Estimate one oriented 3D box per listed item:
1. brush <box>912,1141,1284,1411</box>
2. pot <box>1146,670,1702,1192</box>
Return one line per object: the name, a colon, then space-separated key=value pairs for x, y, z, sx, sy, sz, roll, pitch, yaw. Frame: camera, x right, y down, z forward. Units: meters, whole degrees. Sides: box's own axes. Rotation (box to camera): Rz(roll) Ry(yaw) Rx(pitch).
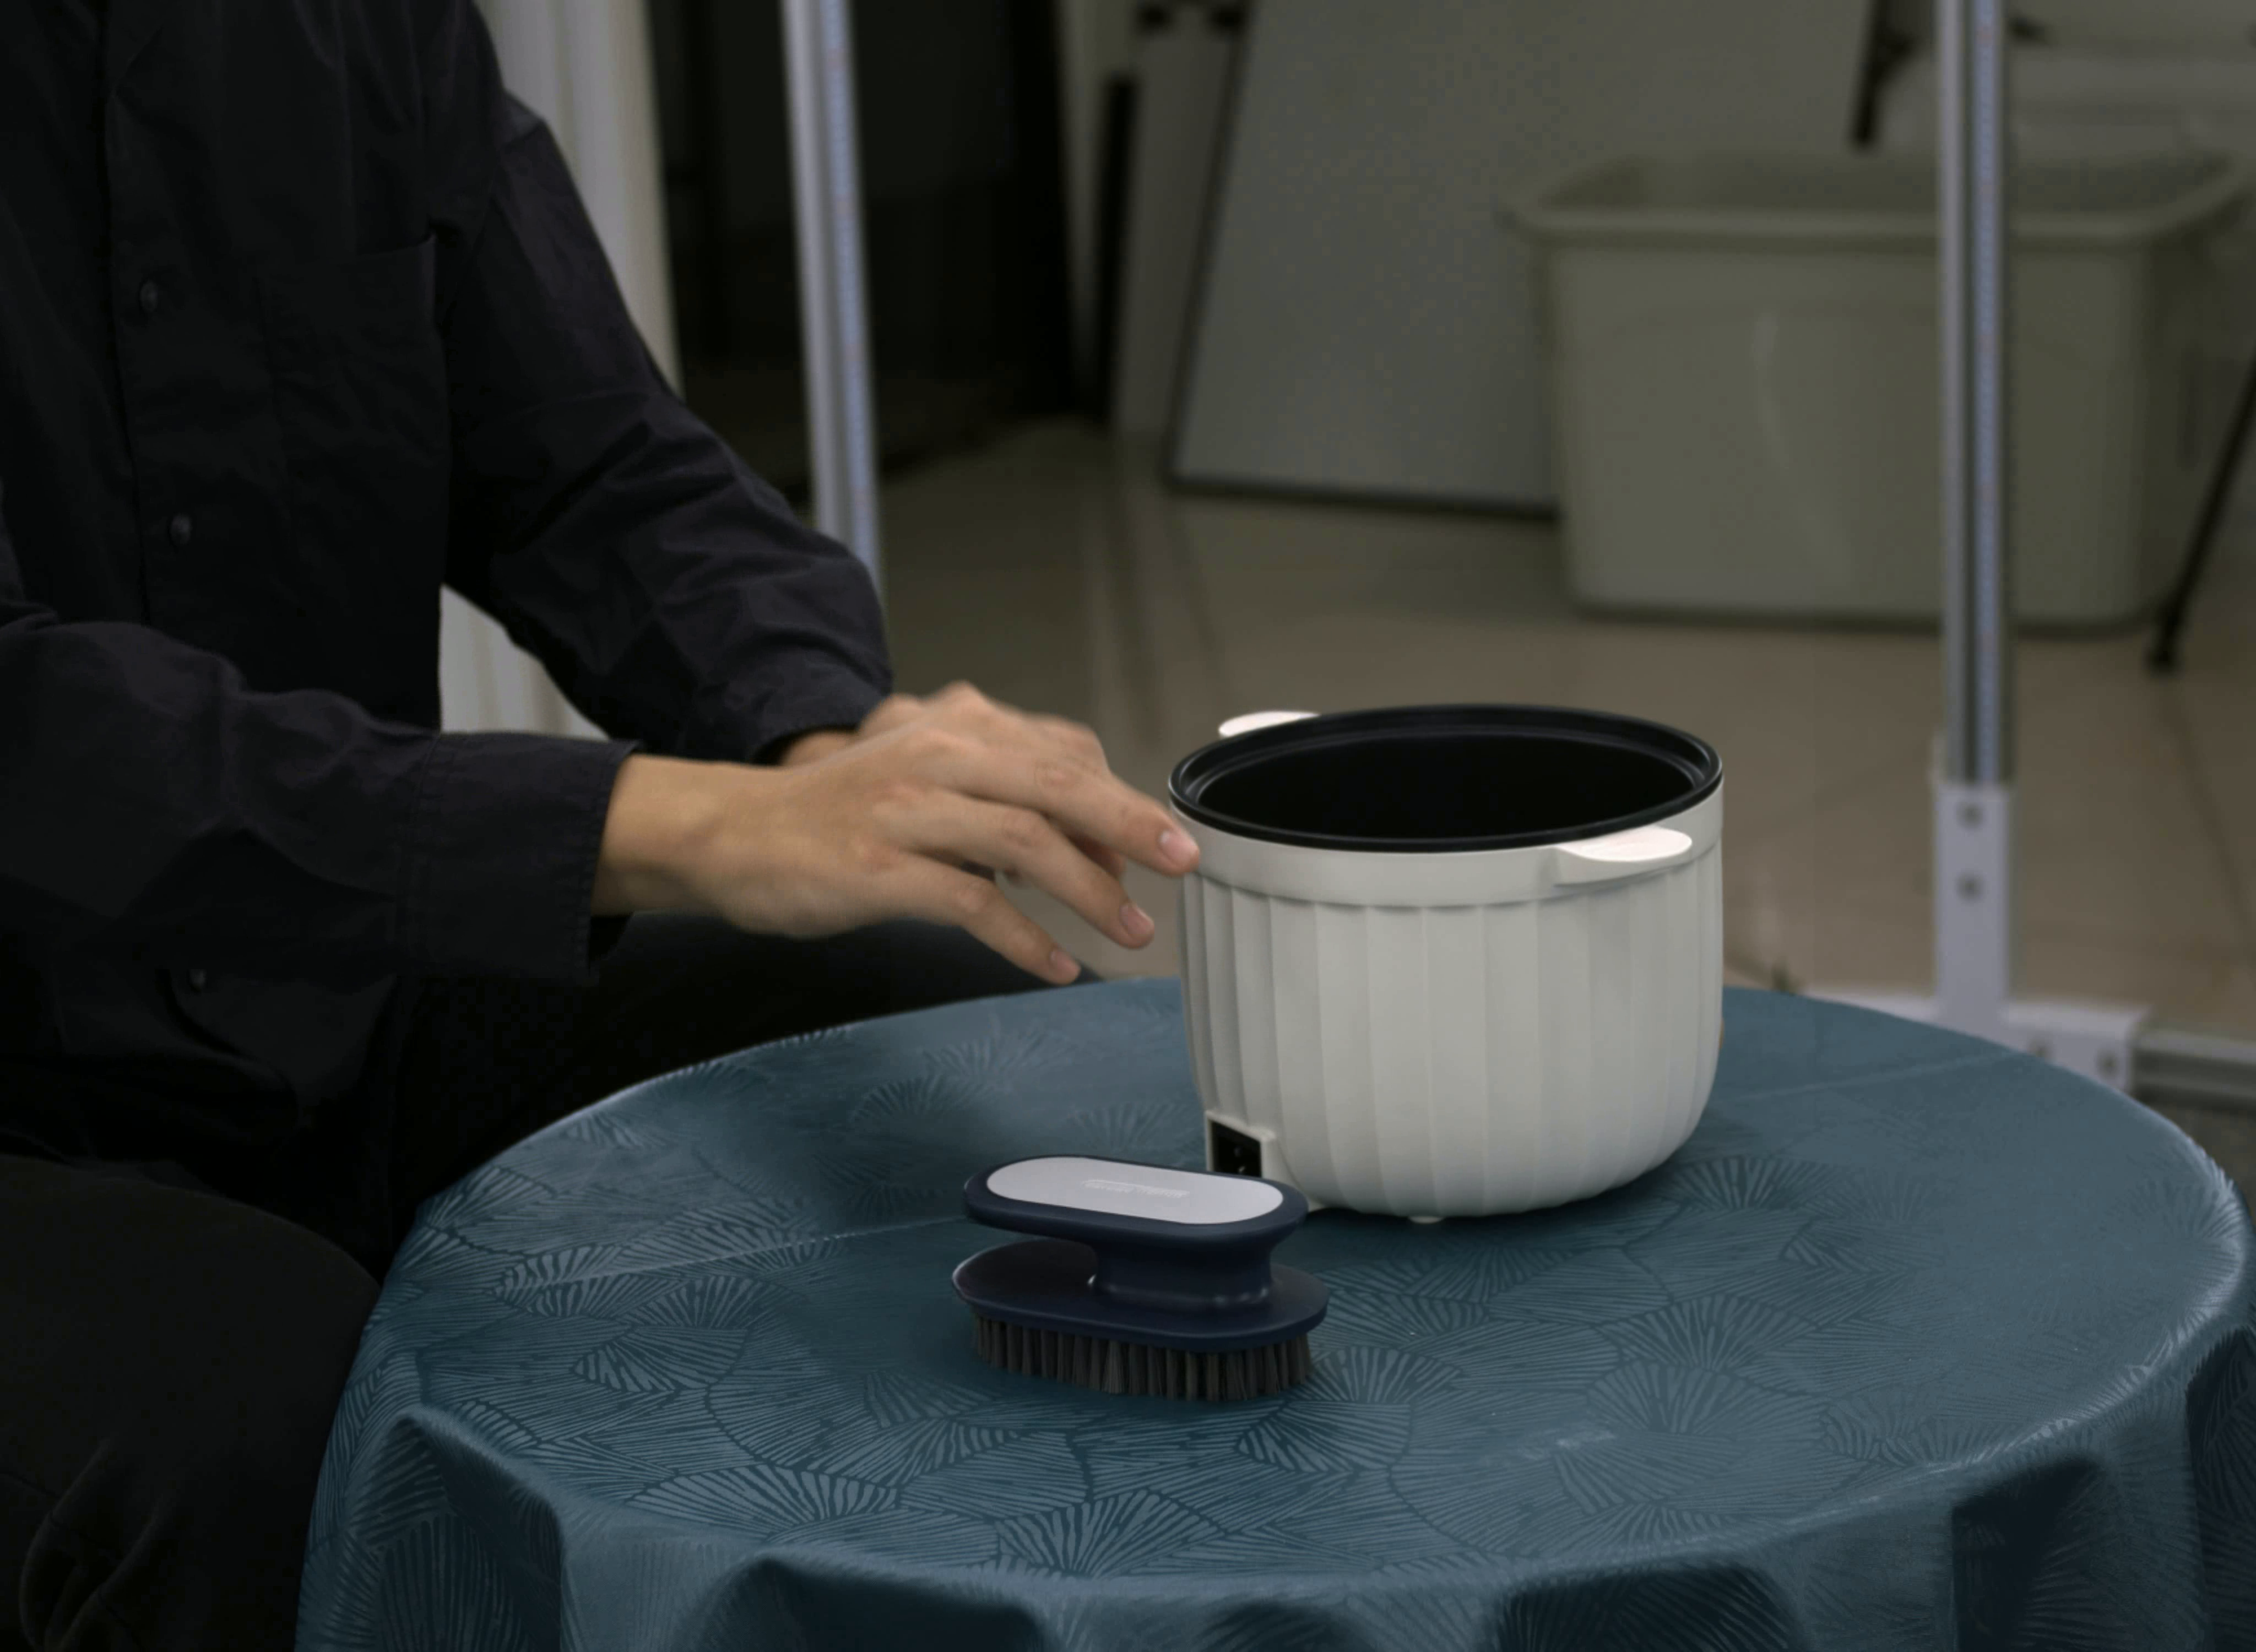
brush: x=-0.009 y=0.136 z=1.609 sx=0.122 sy=0.062 sz=0.067 roll=11 pitch=22 yaw=34
pot: x=0.105 y=0.034 z=1.778 sx=0.186 sy=0.144 sz=0.243 roll=-14 pitch=19 yaw=-29
